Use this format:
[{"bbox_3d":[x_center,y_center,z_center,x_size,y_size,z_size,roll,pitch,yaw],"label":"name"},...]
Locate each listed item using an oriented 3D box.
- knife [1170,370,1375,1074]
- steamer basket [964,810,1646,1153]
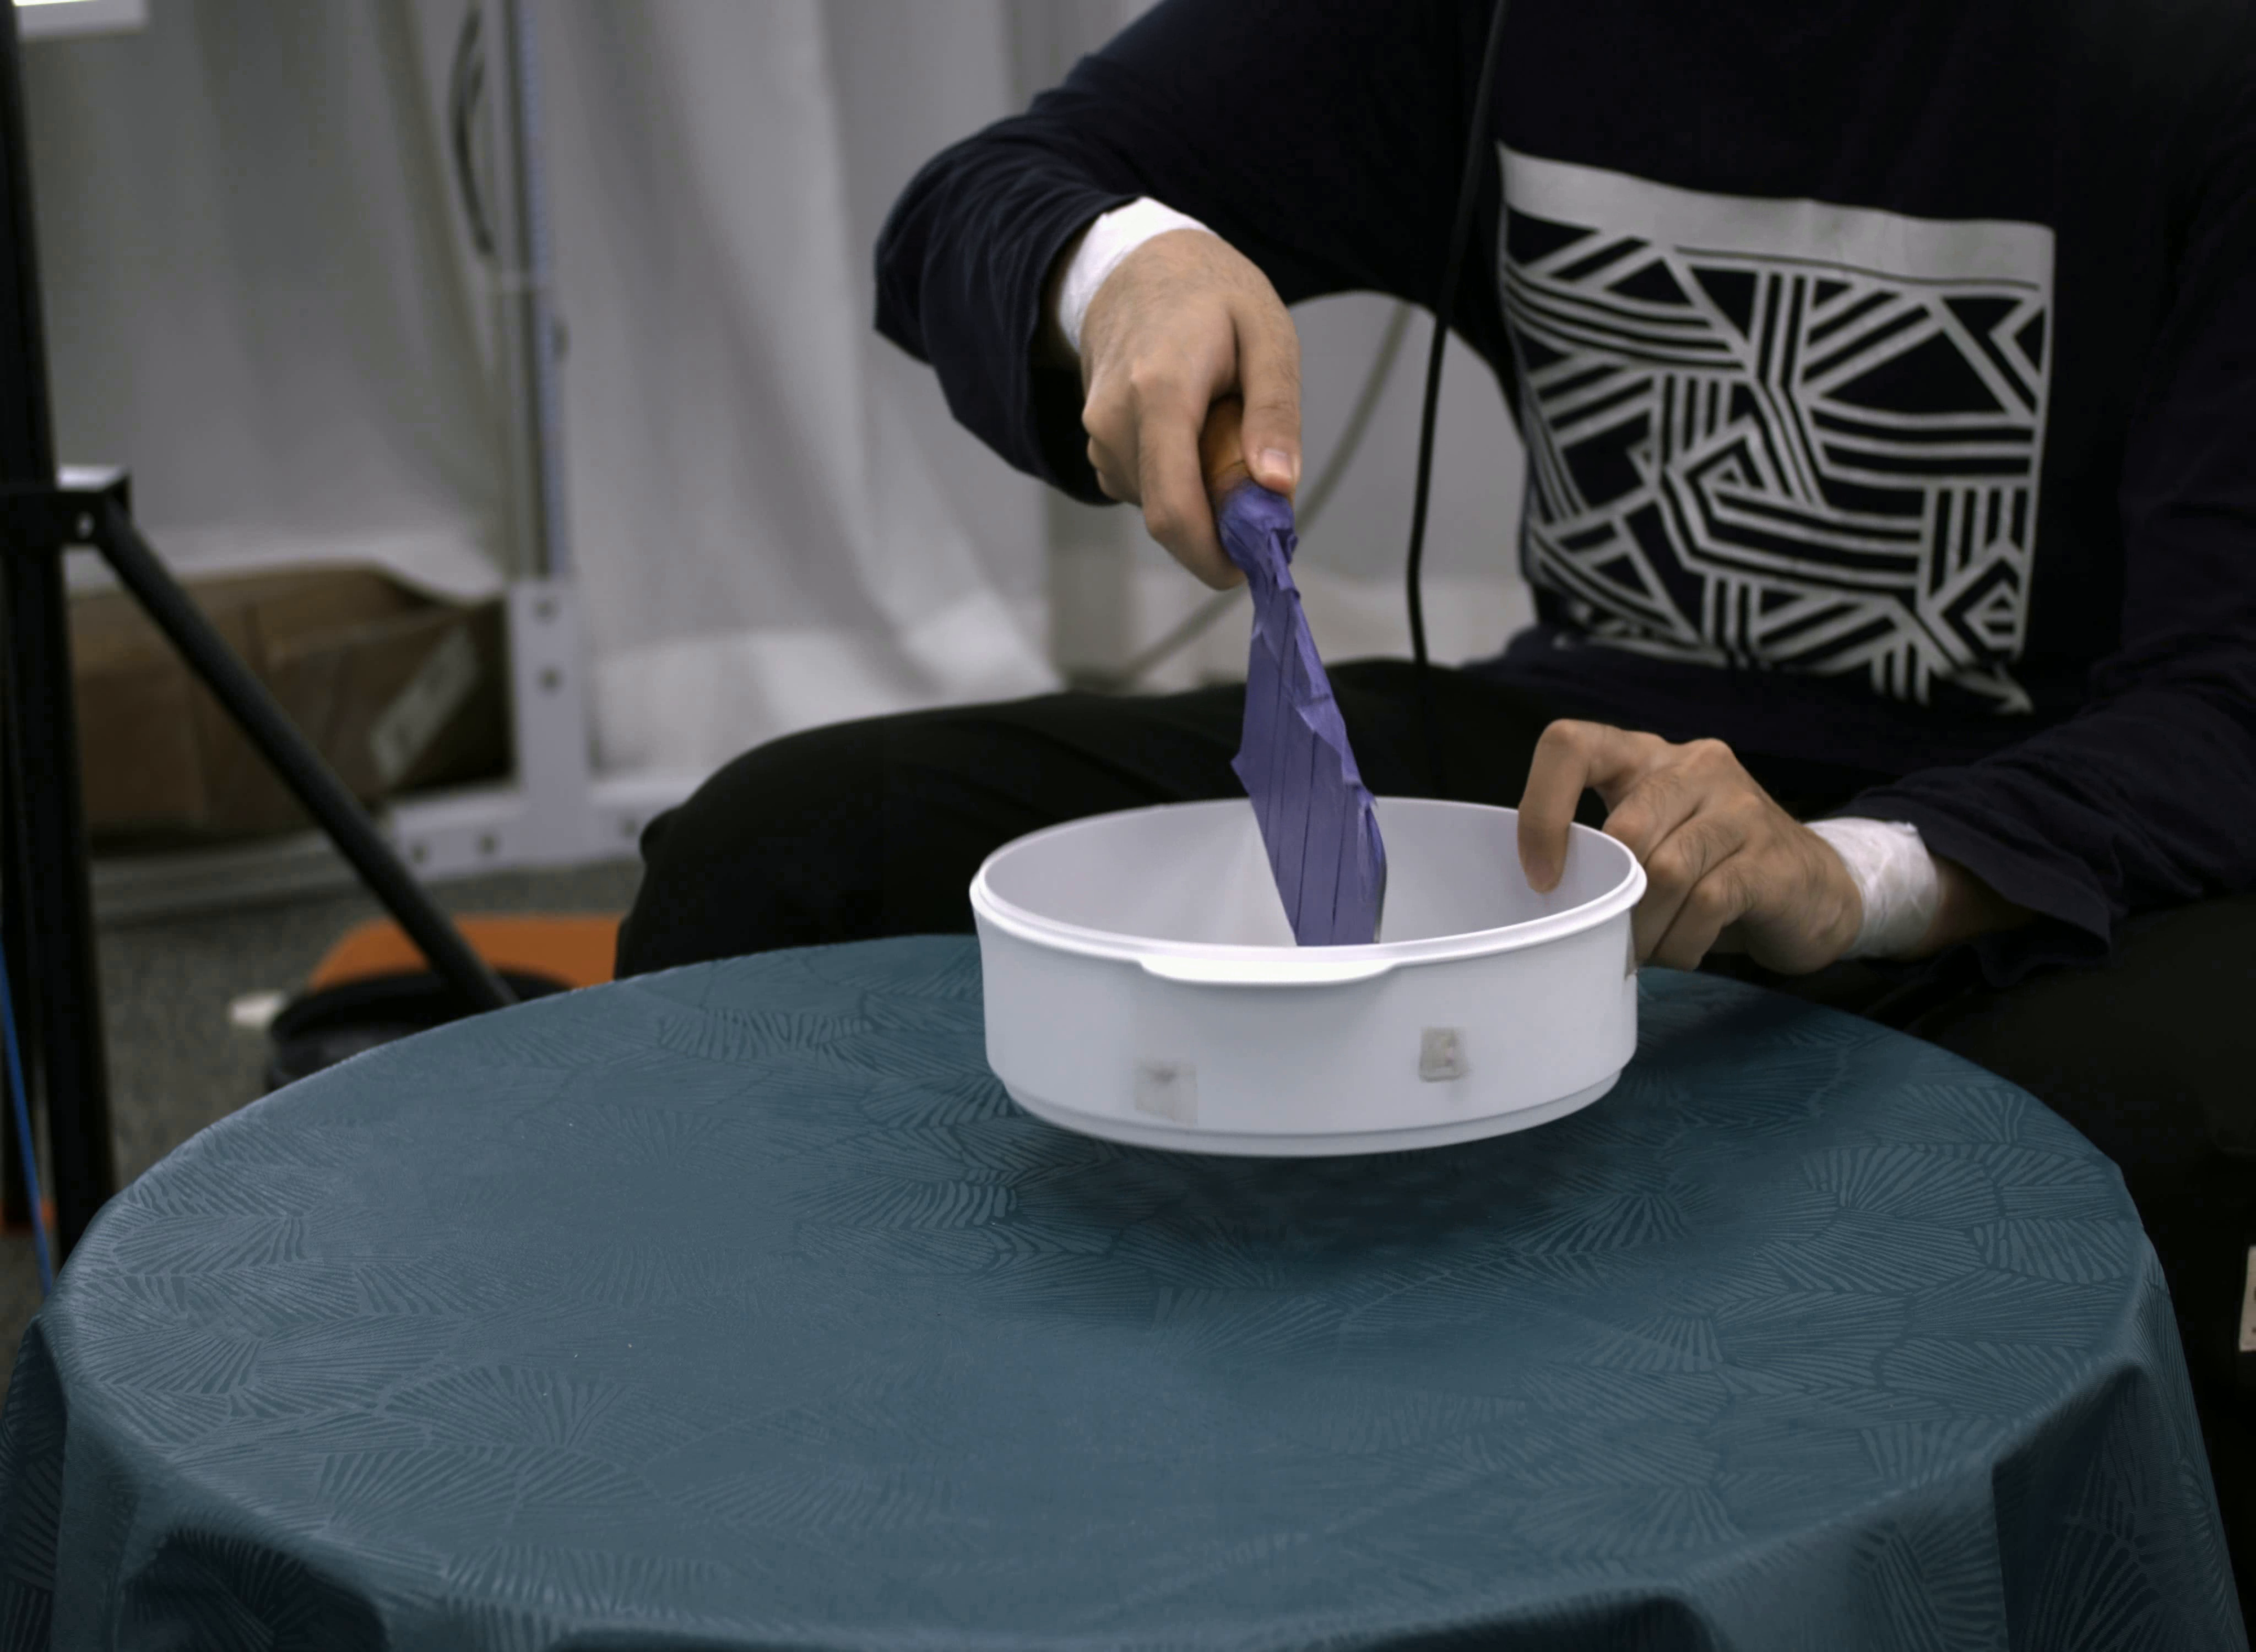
[{"bbox_3d":[0.042,-0.034,1.613,0.032,0.104,0.319,2,28,-8],"label":"knife"},{"bbox_3d":[0.052,0.046,1.571,0.202,0.069,0.229,3,11,10],"label":"steamer basket"}]
